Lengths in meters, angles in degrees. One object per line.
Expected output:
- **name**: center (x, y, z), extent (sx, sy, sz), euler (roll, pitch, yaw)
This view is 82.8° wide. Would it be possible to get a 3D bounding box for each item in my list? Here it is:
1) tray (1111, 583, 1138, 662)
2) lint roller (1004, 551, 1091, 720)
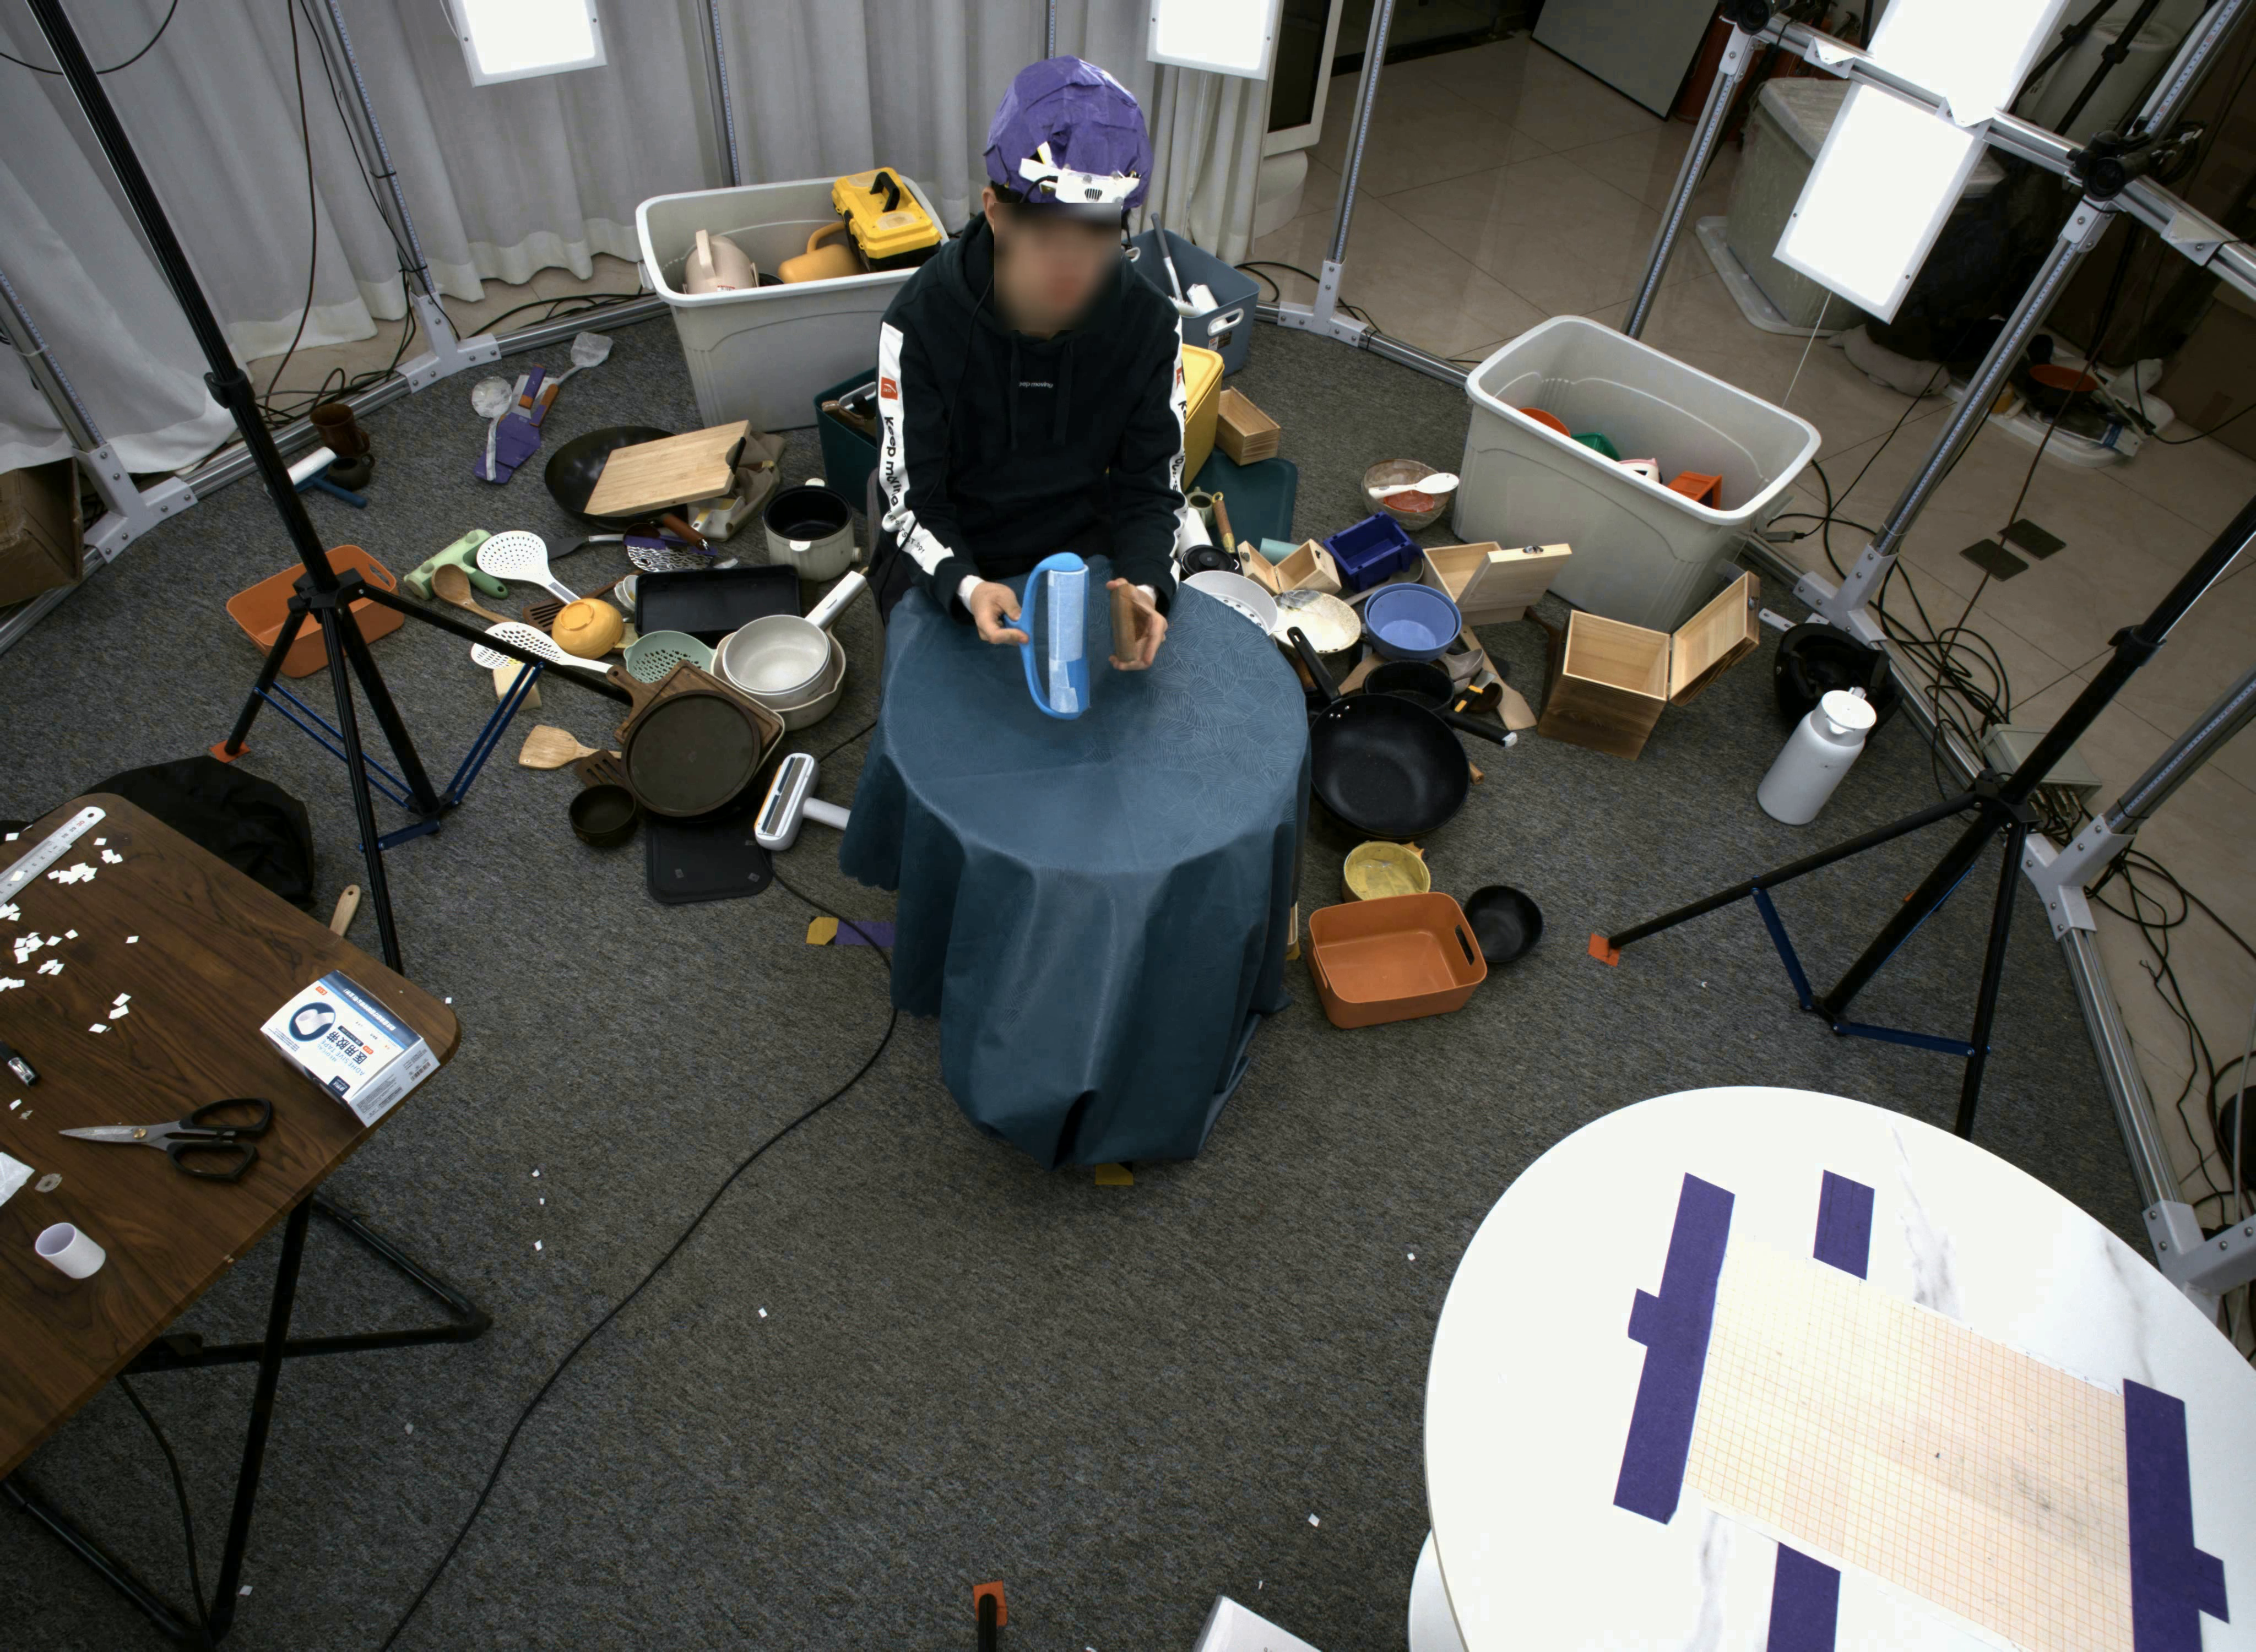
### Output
- **tray**: center (-0.007, -0.272, 1.729), extent (0.020, 0.101, 0.232), euler (-5, 7, -5)
- **lint roller**: center (-0.121, -0.264, 1.728), extent (0.182, 0.225, 0.068), euler (20, 33, 40)
